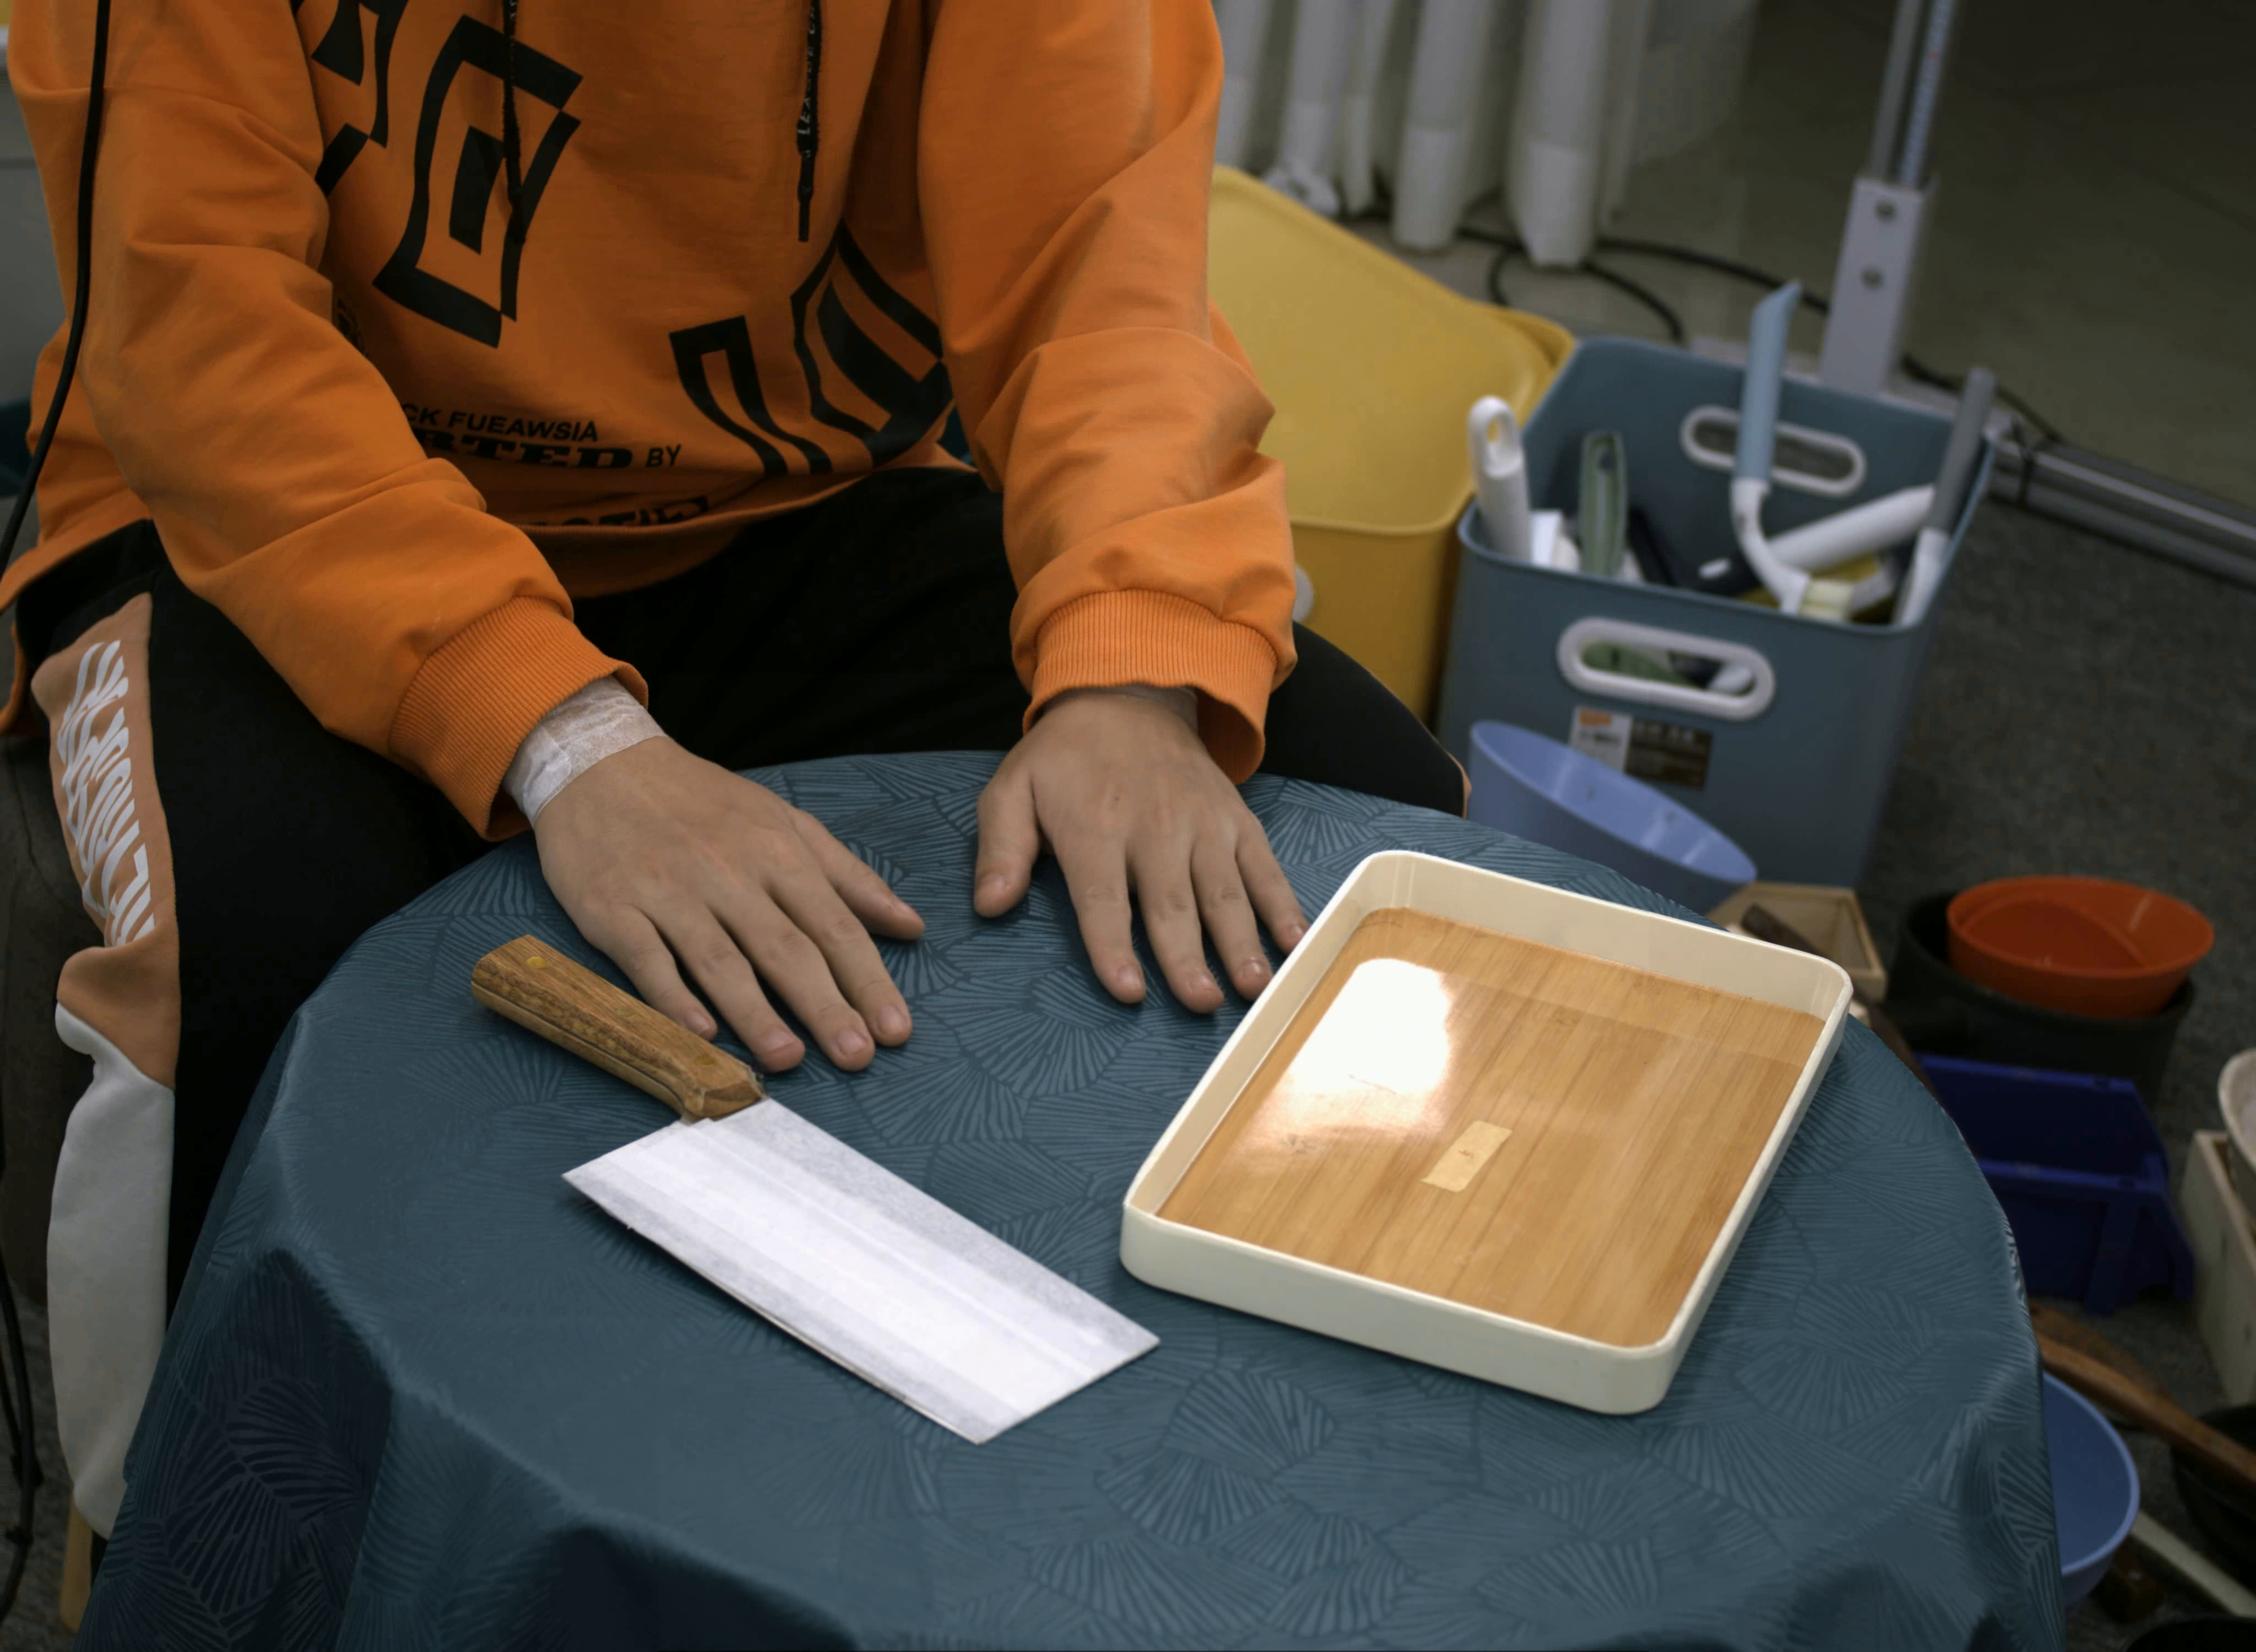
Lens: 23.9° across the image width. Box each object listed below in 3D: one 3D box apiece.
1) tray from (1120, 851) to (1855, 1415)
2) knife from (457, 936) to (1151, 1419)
[{"bbox_3d":[0.130,0.100,1.848,0.192,0.027,0.300,14,28,15],"label":"tray"},{"bbox_3d":[-0.130,0.117,1.770,0.308,0.021,0.092,29,36,33],"label":"knife"}]
